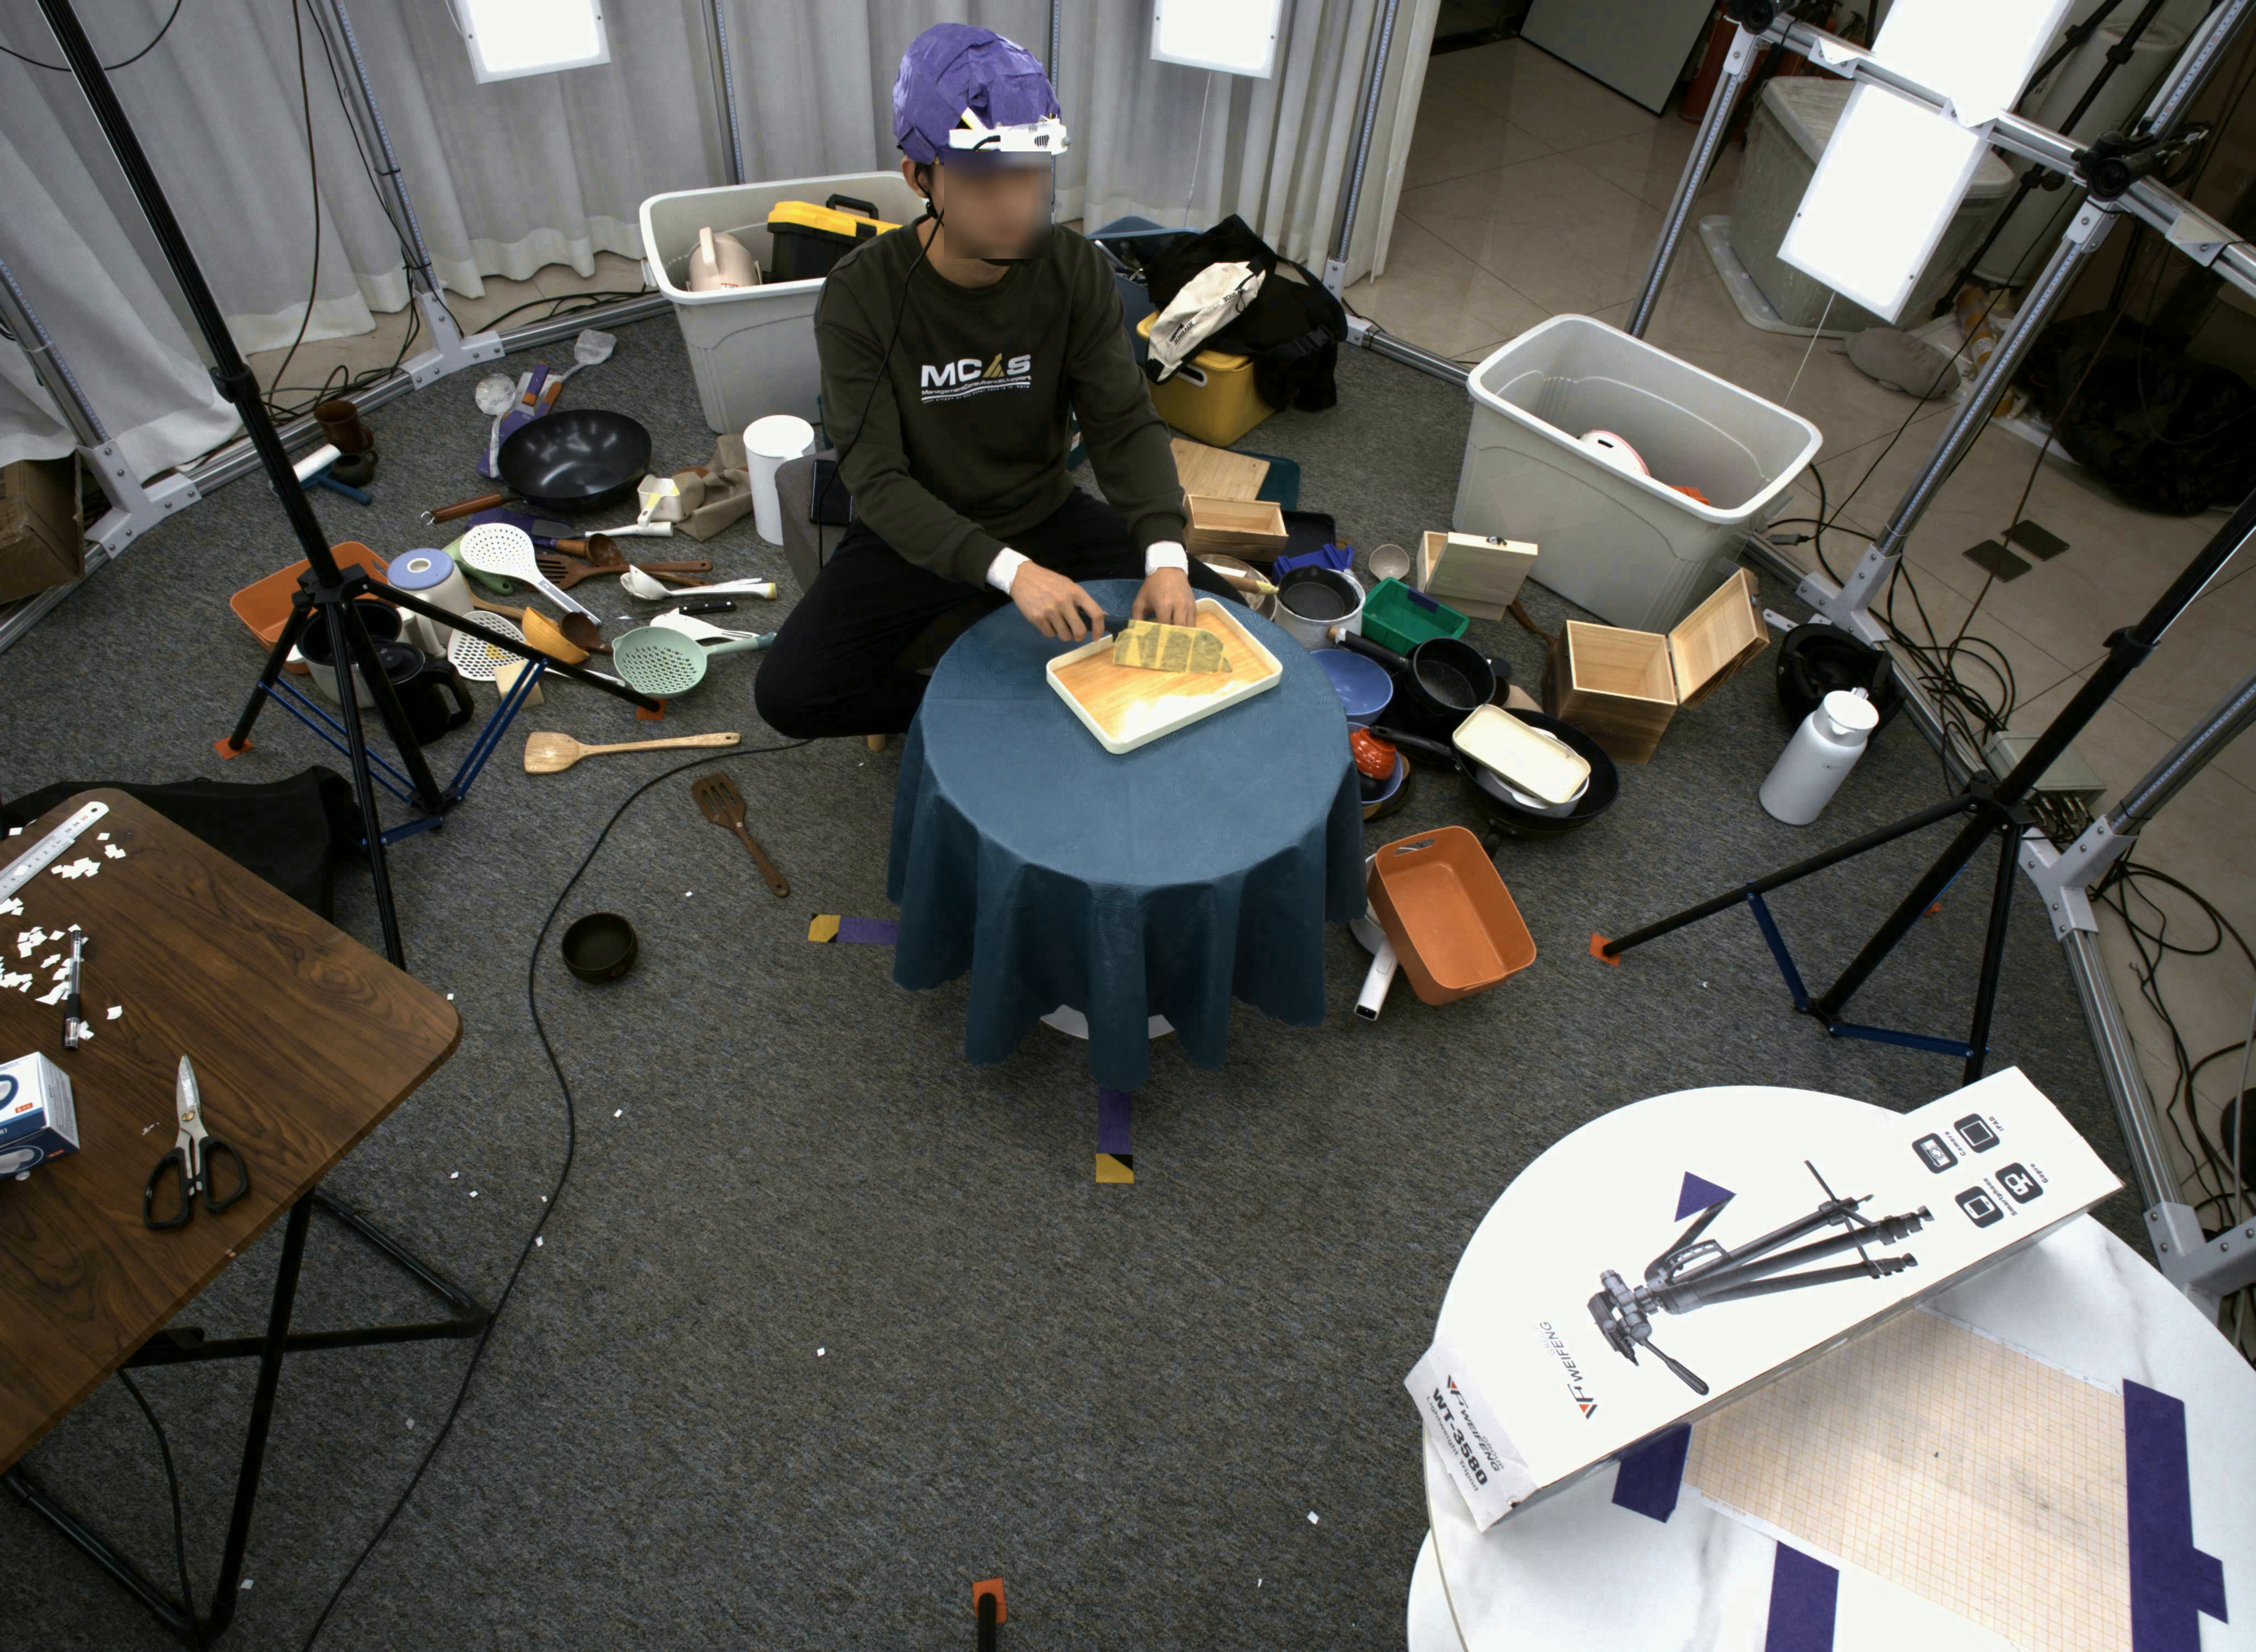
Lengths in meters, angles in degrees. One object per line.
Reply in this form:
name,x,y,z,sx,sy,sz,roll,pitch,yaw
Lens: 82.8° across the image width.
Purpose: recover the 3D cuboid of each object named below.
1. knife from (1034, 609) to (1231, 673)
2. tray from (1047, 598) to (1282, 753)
knife,0.007,-0.264,1.835,0.289,0.079,0.028,10,31,-2
tray,0.053,-0.222,1.846,0.301,0.027,0.195,-25,54,-23
